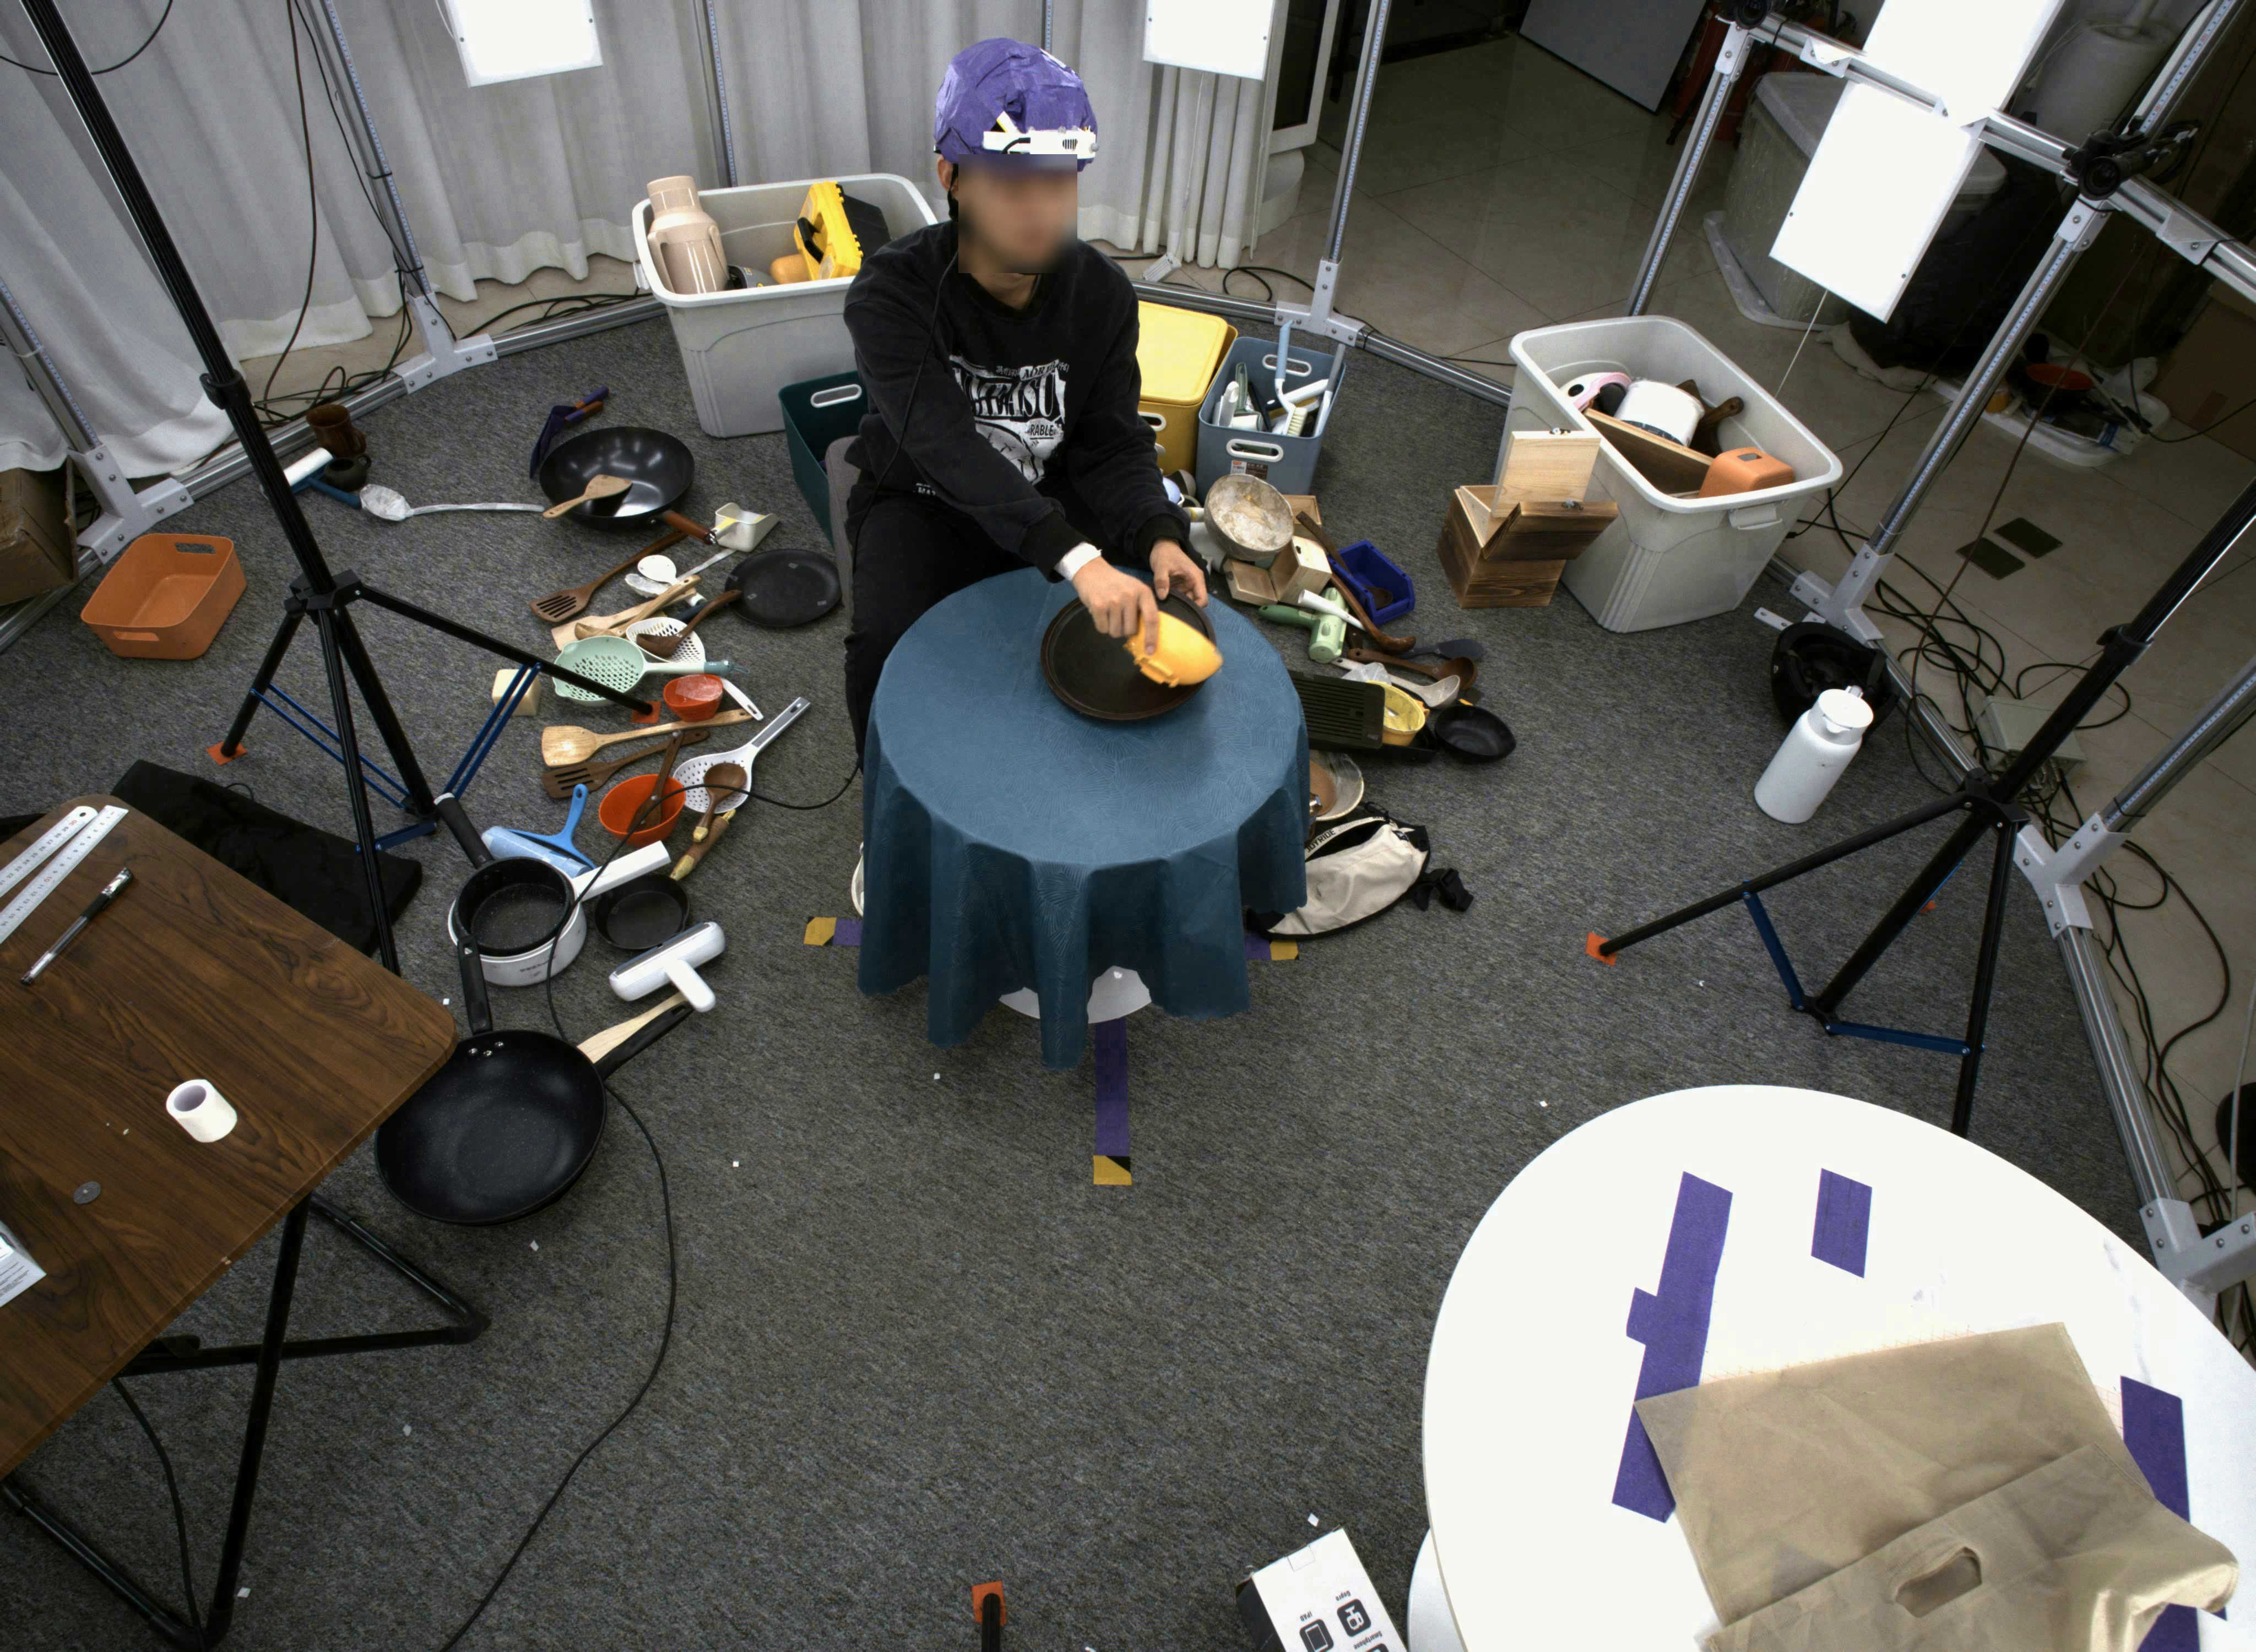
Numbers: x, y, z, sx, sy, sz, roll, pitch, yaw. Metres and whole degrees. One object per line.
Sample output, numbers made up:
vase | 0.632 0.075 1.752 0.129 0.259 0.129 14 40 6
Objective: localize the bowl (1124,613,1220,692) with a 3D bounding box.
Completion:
bowl | 0.049 -0.226 1.755 0.146 0.143 0.060 26 79 17

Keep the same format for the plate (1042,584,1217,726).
plate | 0.003 -0.248 1.858 0.255 0.028 0.261 -4 56 6
